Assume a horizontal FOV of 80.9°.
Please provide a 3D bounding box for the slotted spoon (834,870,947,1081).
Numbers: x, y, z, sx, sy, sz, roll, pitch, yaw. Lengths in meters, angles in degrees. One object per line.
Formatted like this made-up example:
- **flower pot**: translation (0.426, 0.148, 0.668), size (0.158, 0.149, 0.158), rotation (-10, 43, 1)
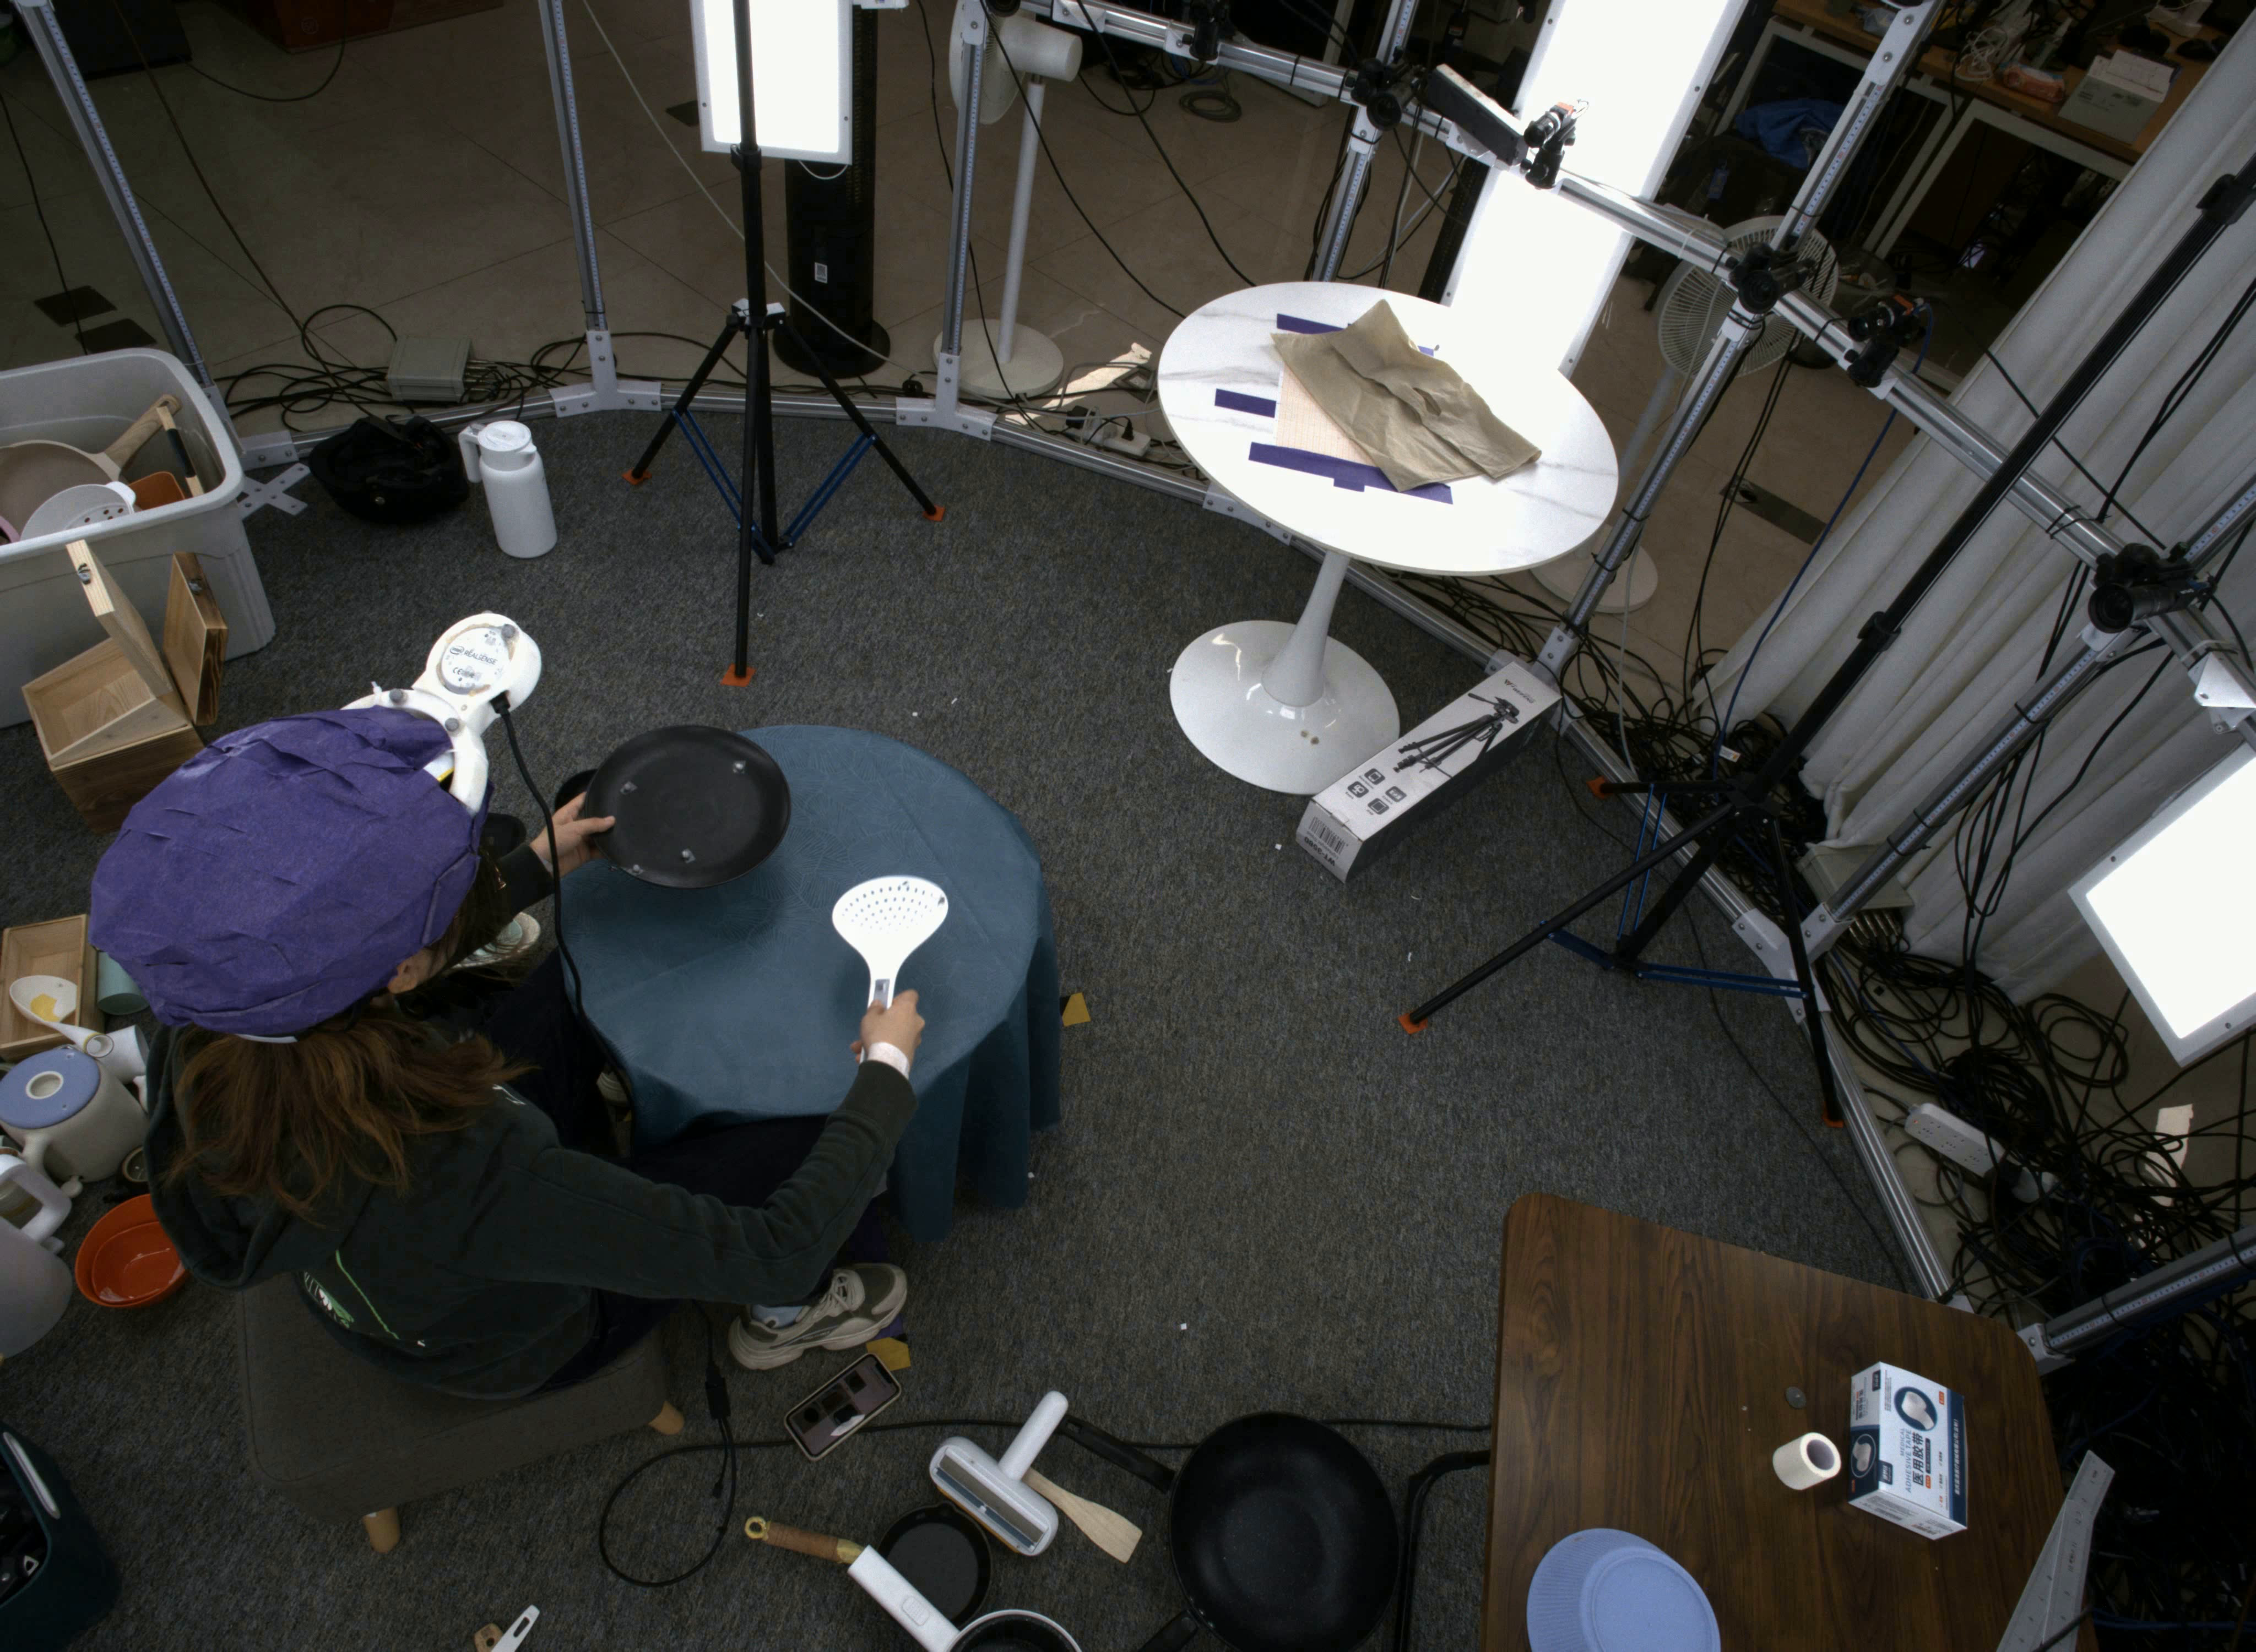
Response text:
- **slotted spoon**: translation (-0.275, 0.157, 1.465), size (0.135, 0.047, 0.341), rotation (-4, 30, -2)

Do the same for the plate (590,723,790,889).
- **plate**: translation (-0.538, -0.024, 1.579), size (0.245, 0.024, 0.240), rotation (9, 55, -12)
